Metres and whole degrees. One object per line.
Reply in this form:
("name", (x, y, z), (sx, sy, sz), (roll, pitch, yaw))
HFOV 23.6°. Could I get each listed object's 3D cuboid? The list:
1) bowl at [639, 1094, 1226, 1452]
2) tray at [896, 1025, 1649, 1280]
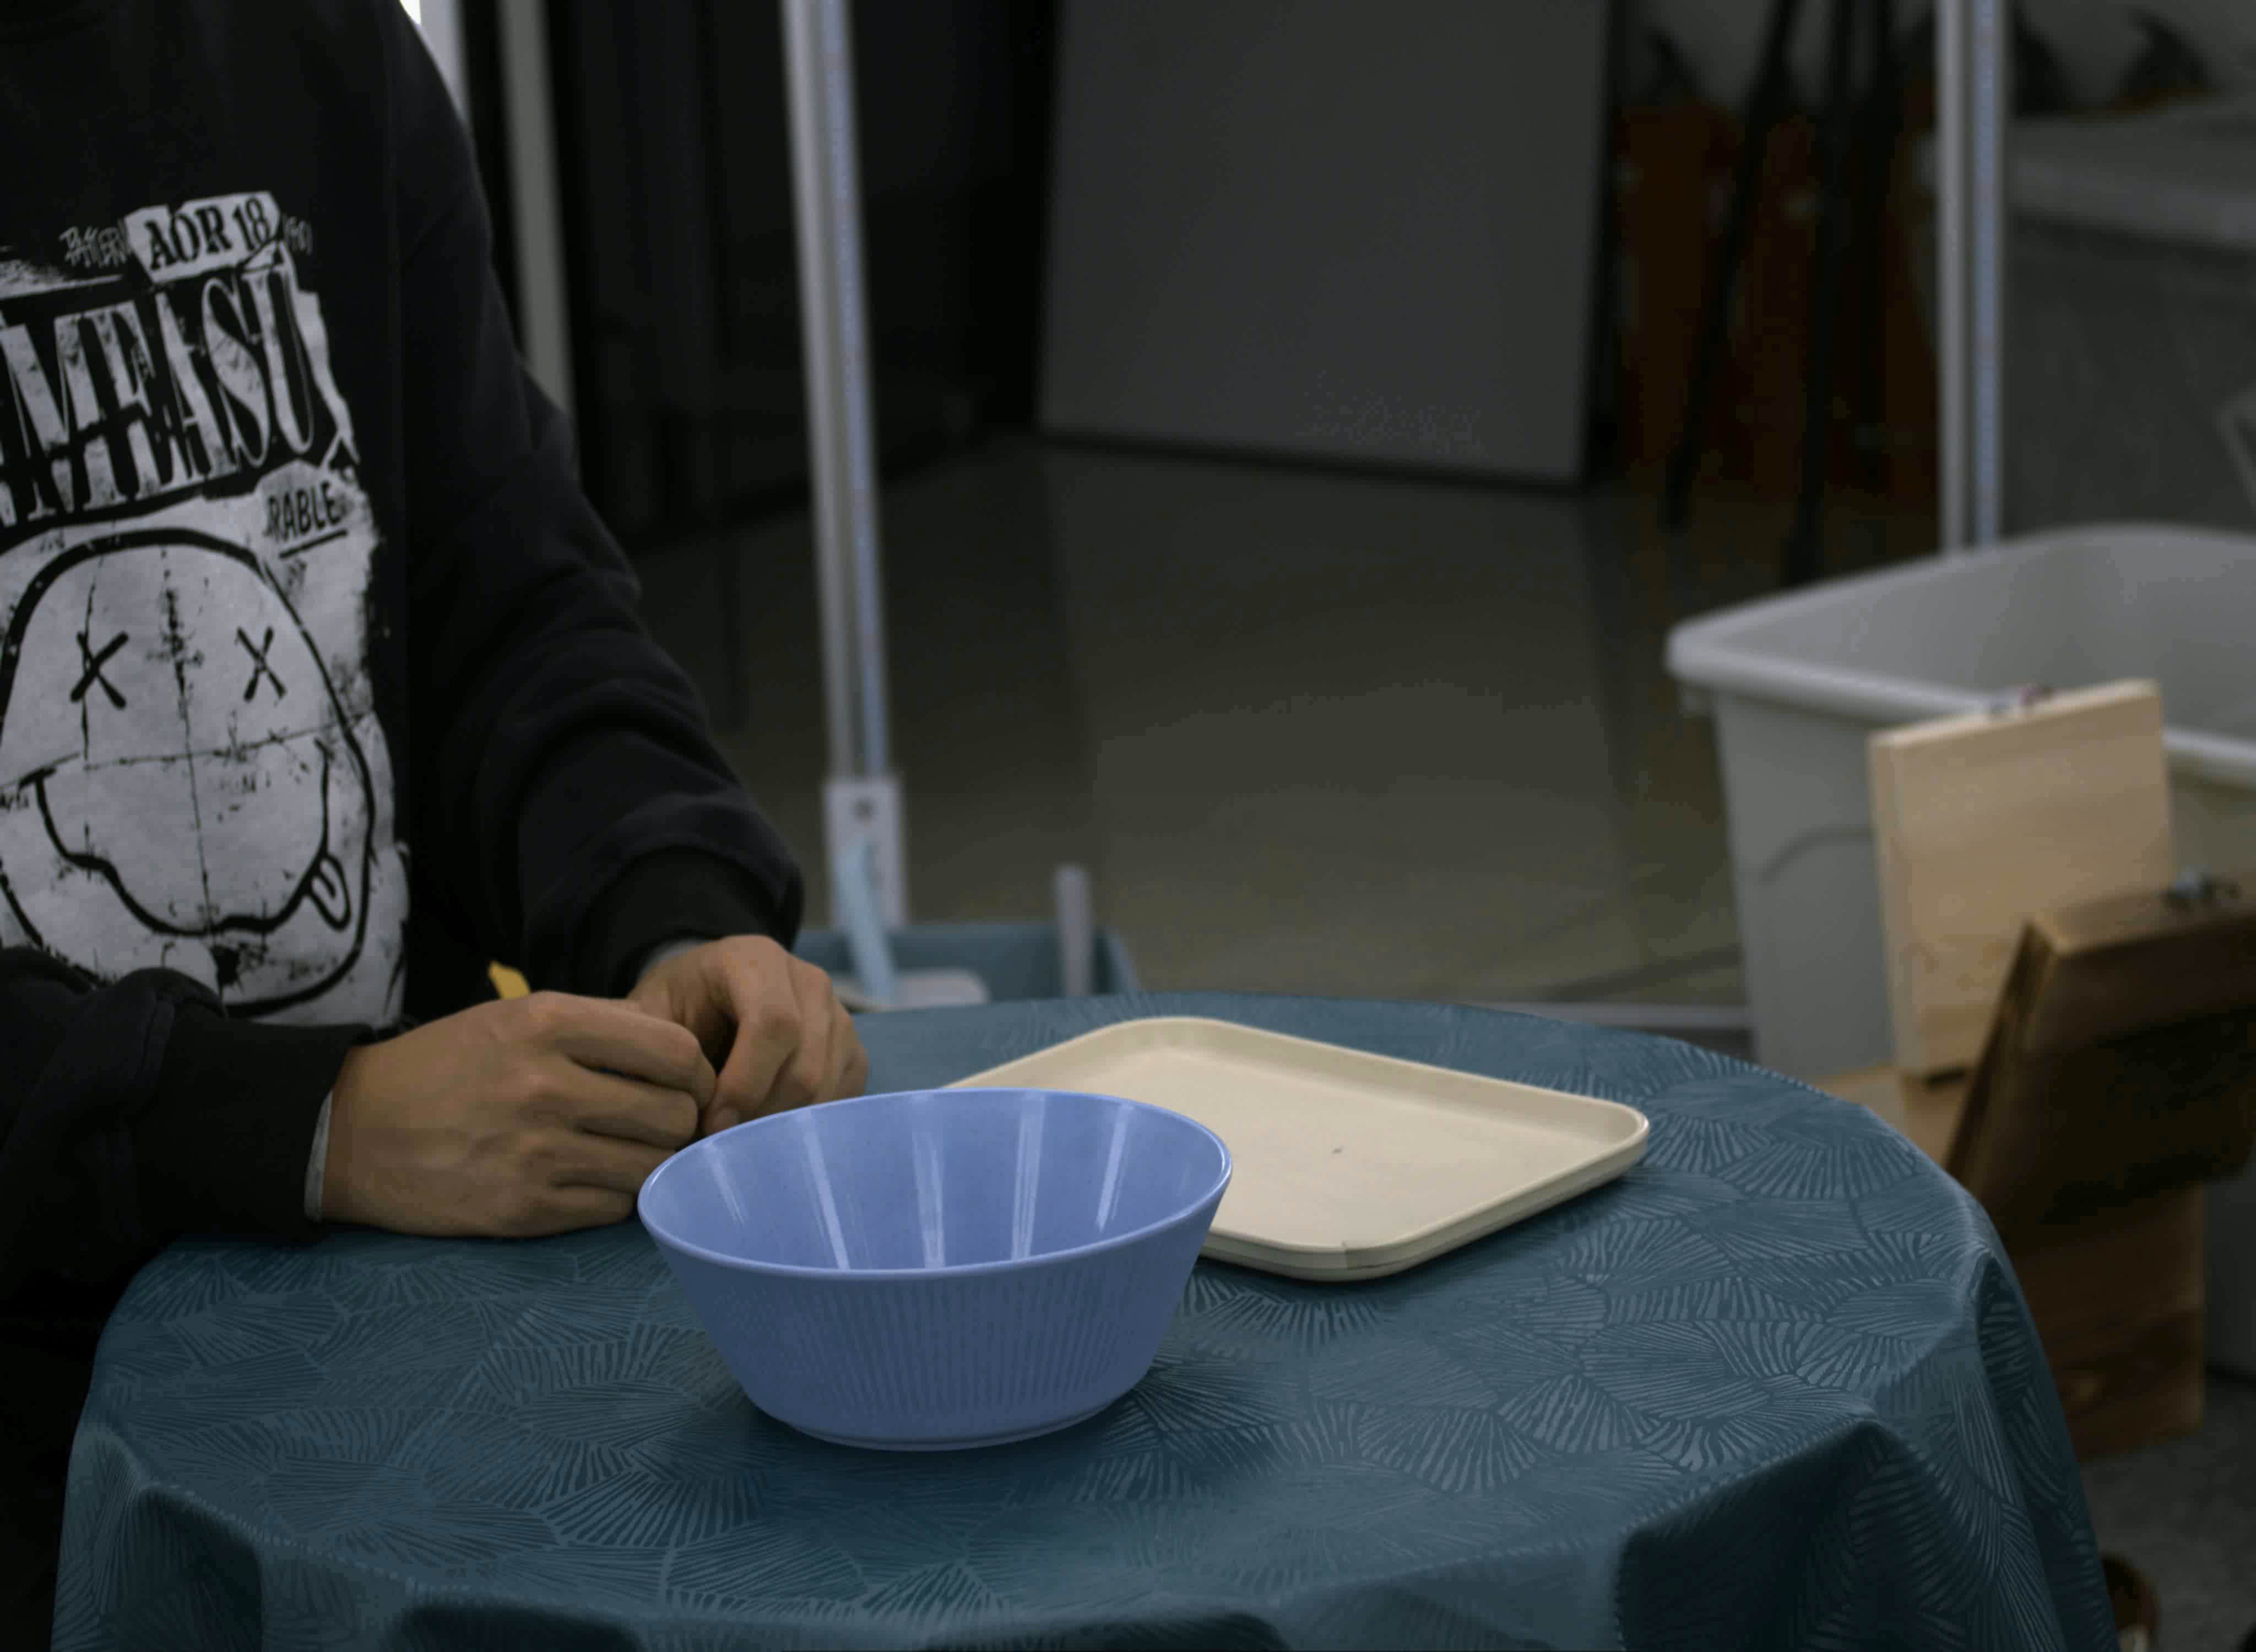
("bowl", (-0.055, 0.134, 1.588), (0.174, 0.071, 0.176), (-4, 13, 0))
("tray", (0.041, 0.107, 1.780), (0.242, 0.017, 0.168), (9, 19, 43))
